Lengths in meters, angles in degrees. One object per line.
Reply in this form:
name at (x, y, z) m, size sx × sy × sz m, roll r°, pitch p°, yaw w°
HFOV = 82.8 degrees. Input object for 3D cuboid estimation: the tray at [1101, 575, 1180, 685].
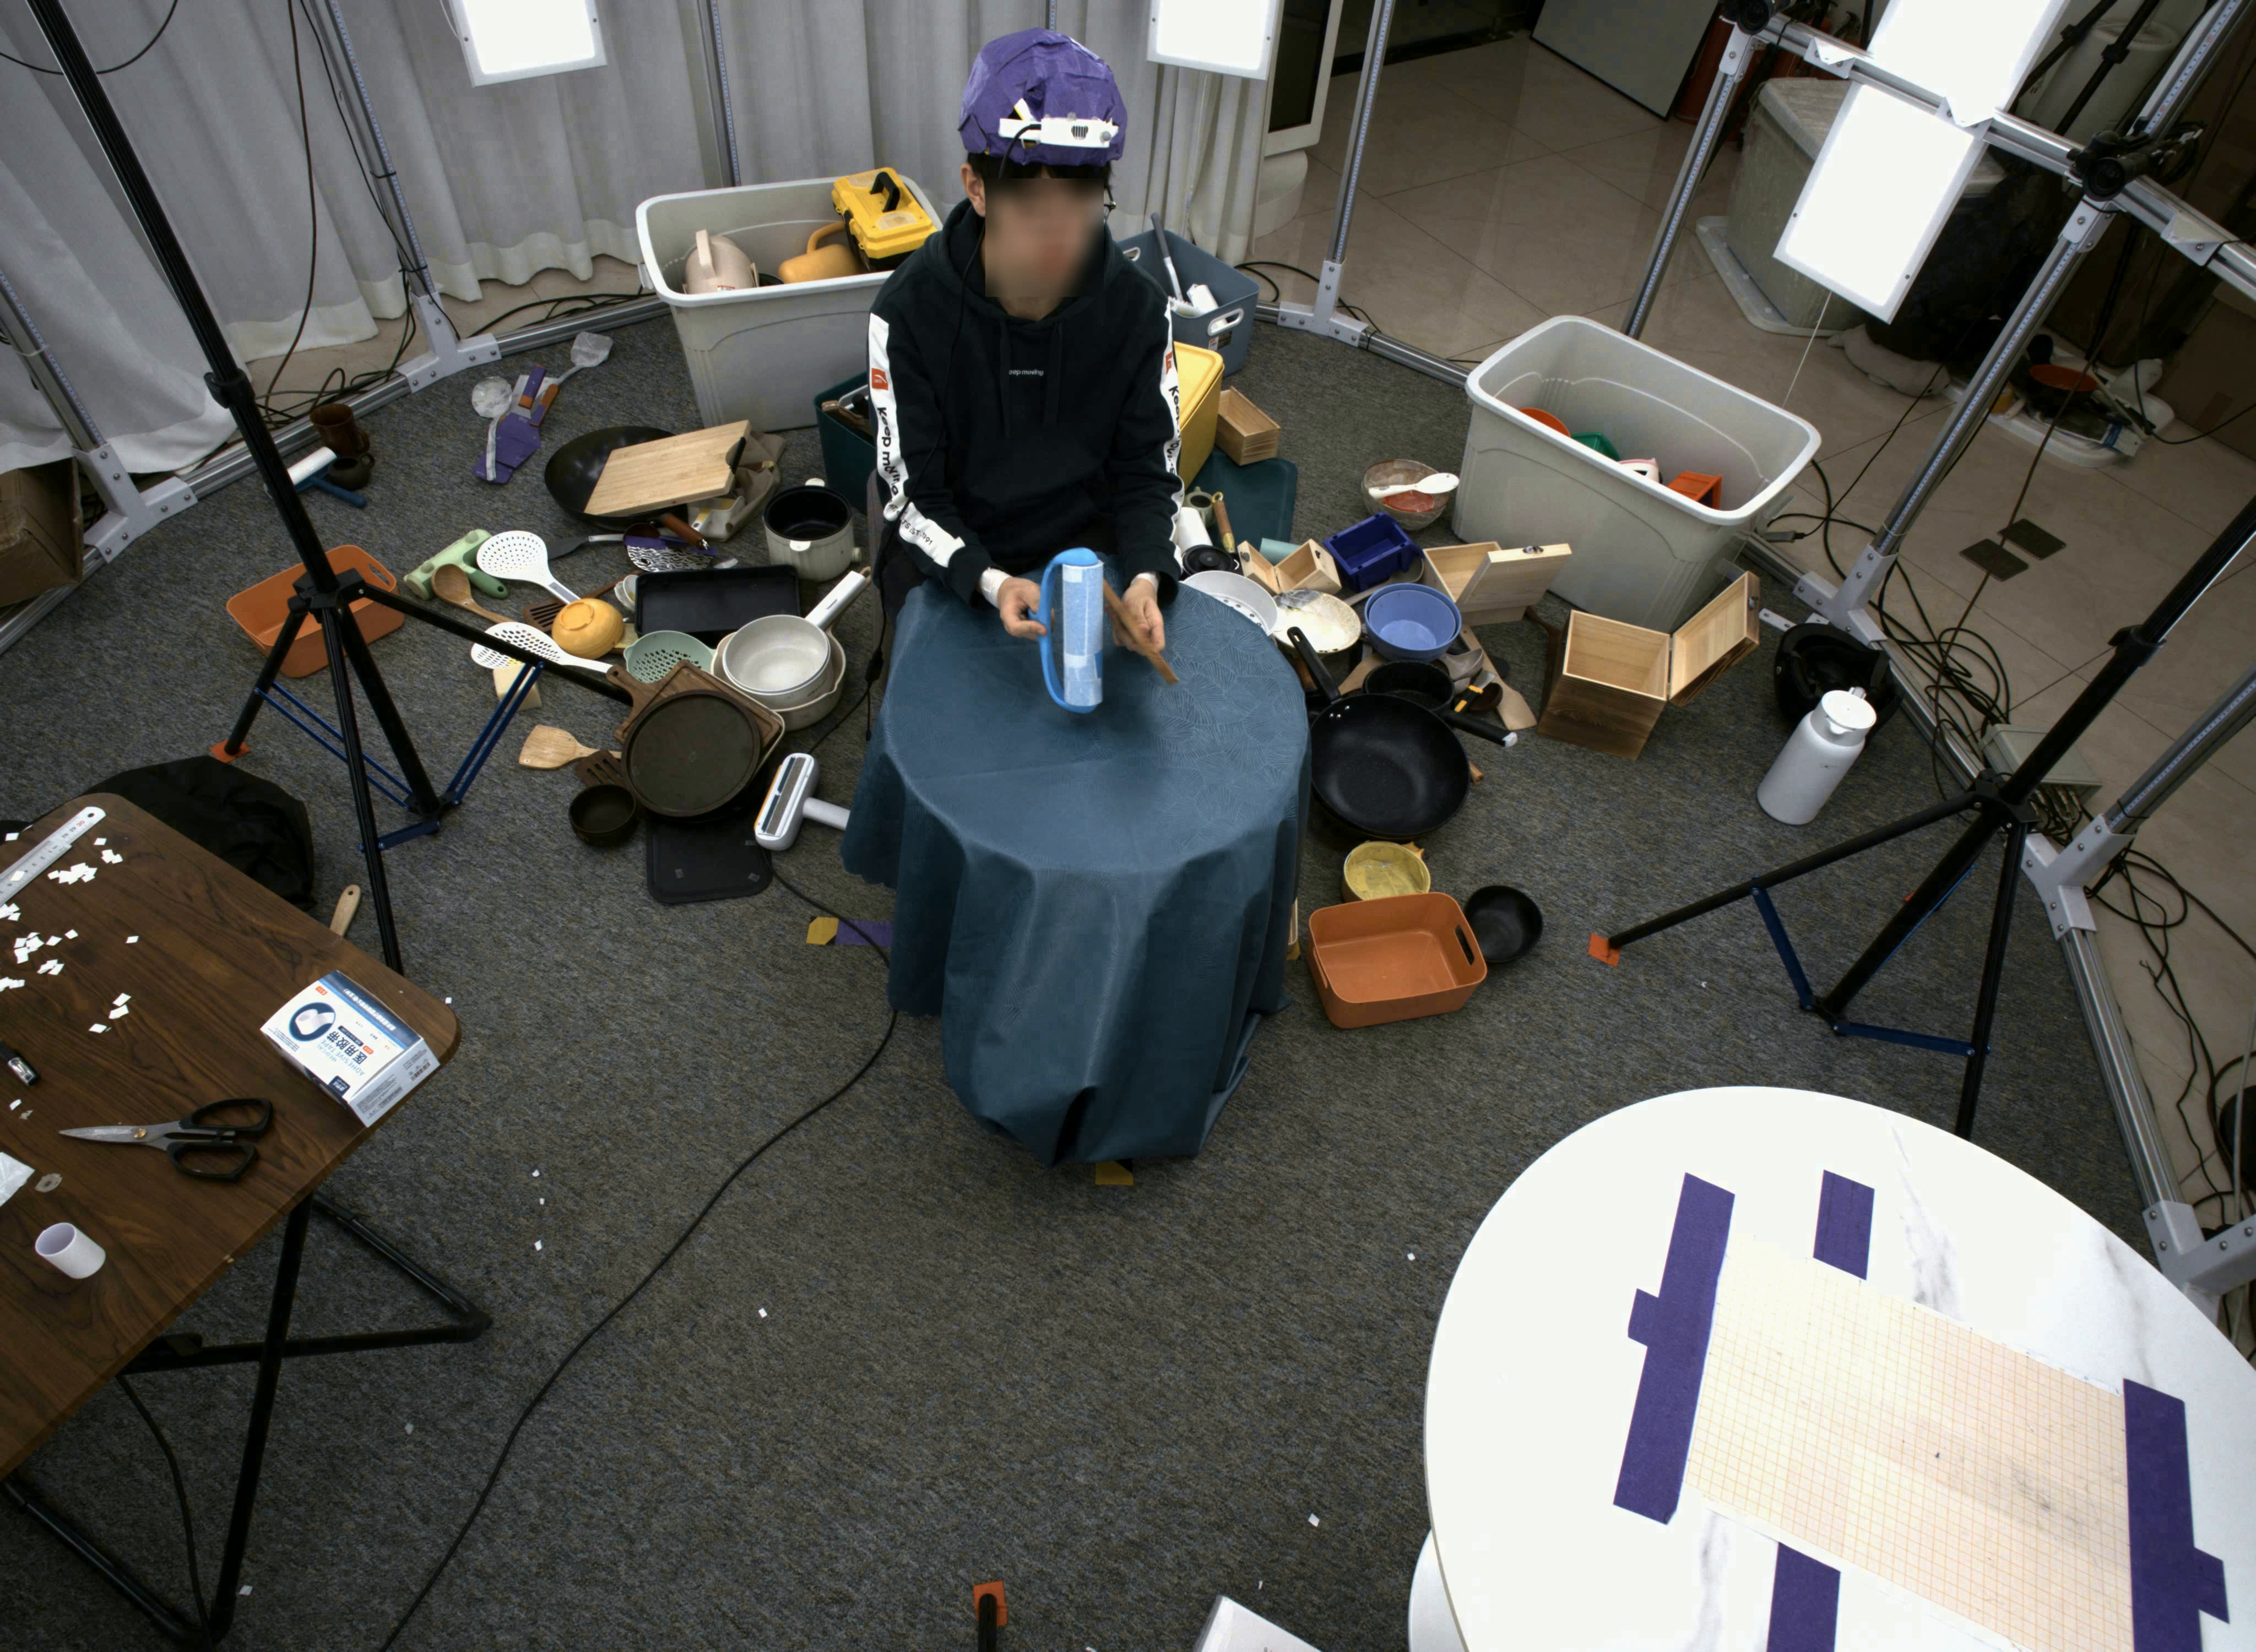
tray at (0.011, -0.270, 1.765) m, size 0.020 × 0.099 × 0.236 m, roll -36°, pitch 42°, yaw 2°

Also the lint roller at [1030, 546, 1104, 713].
lint roller at (-0.097, -0.278, 1.763) m, size 0.068 × 0.225 × 0.183 m, roll -18°, pitch 27°, yaw -33°
